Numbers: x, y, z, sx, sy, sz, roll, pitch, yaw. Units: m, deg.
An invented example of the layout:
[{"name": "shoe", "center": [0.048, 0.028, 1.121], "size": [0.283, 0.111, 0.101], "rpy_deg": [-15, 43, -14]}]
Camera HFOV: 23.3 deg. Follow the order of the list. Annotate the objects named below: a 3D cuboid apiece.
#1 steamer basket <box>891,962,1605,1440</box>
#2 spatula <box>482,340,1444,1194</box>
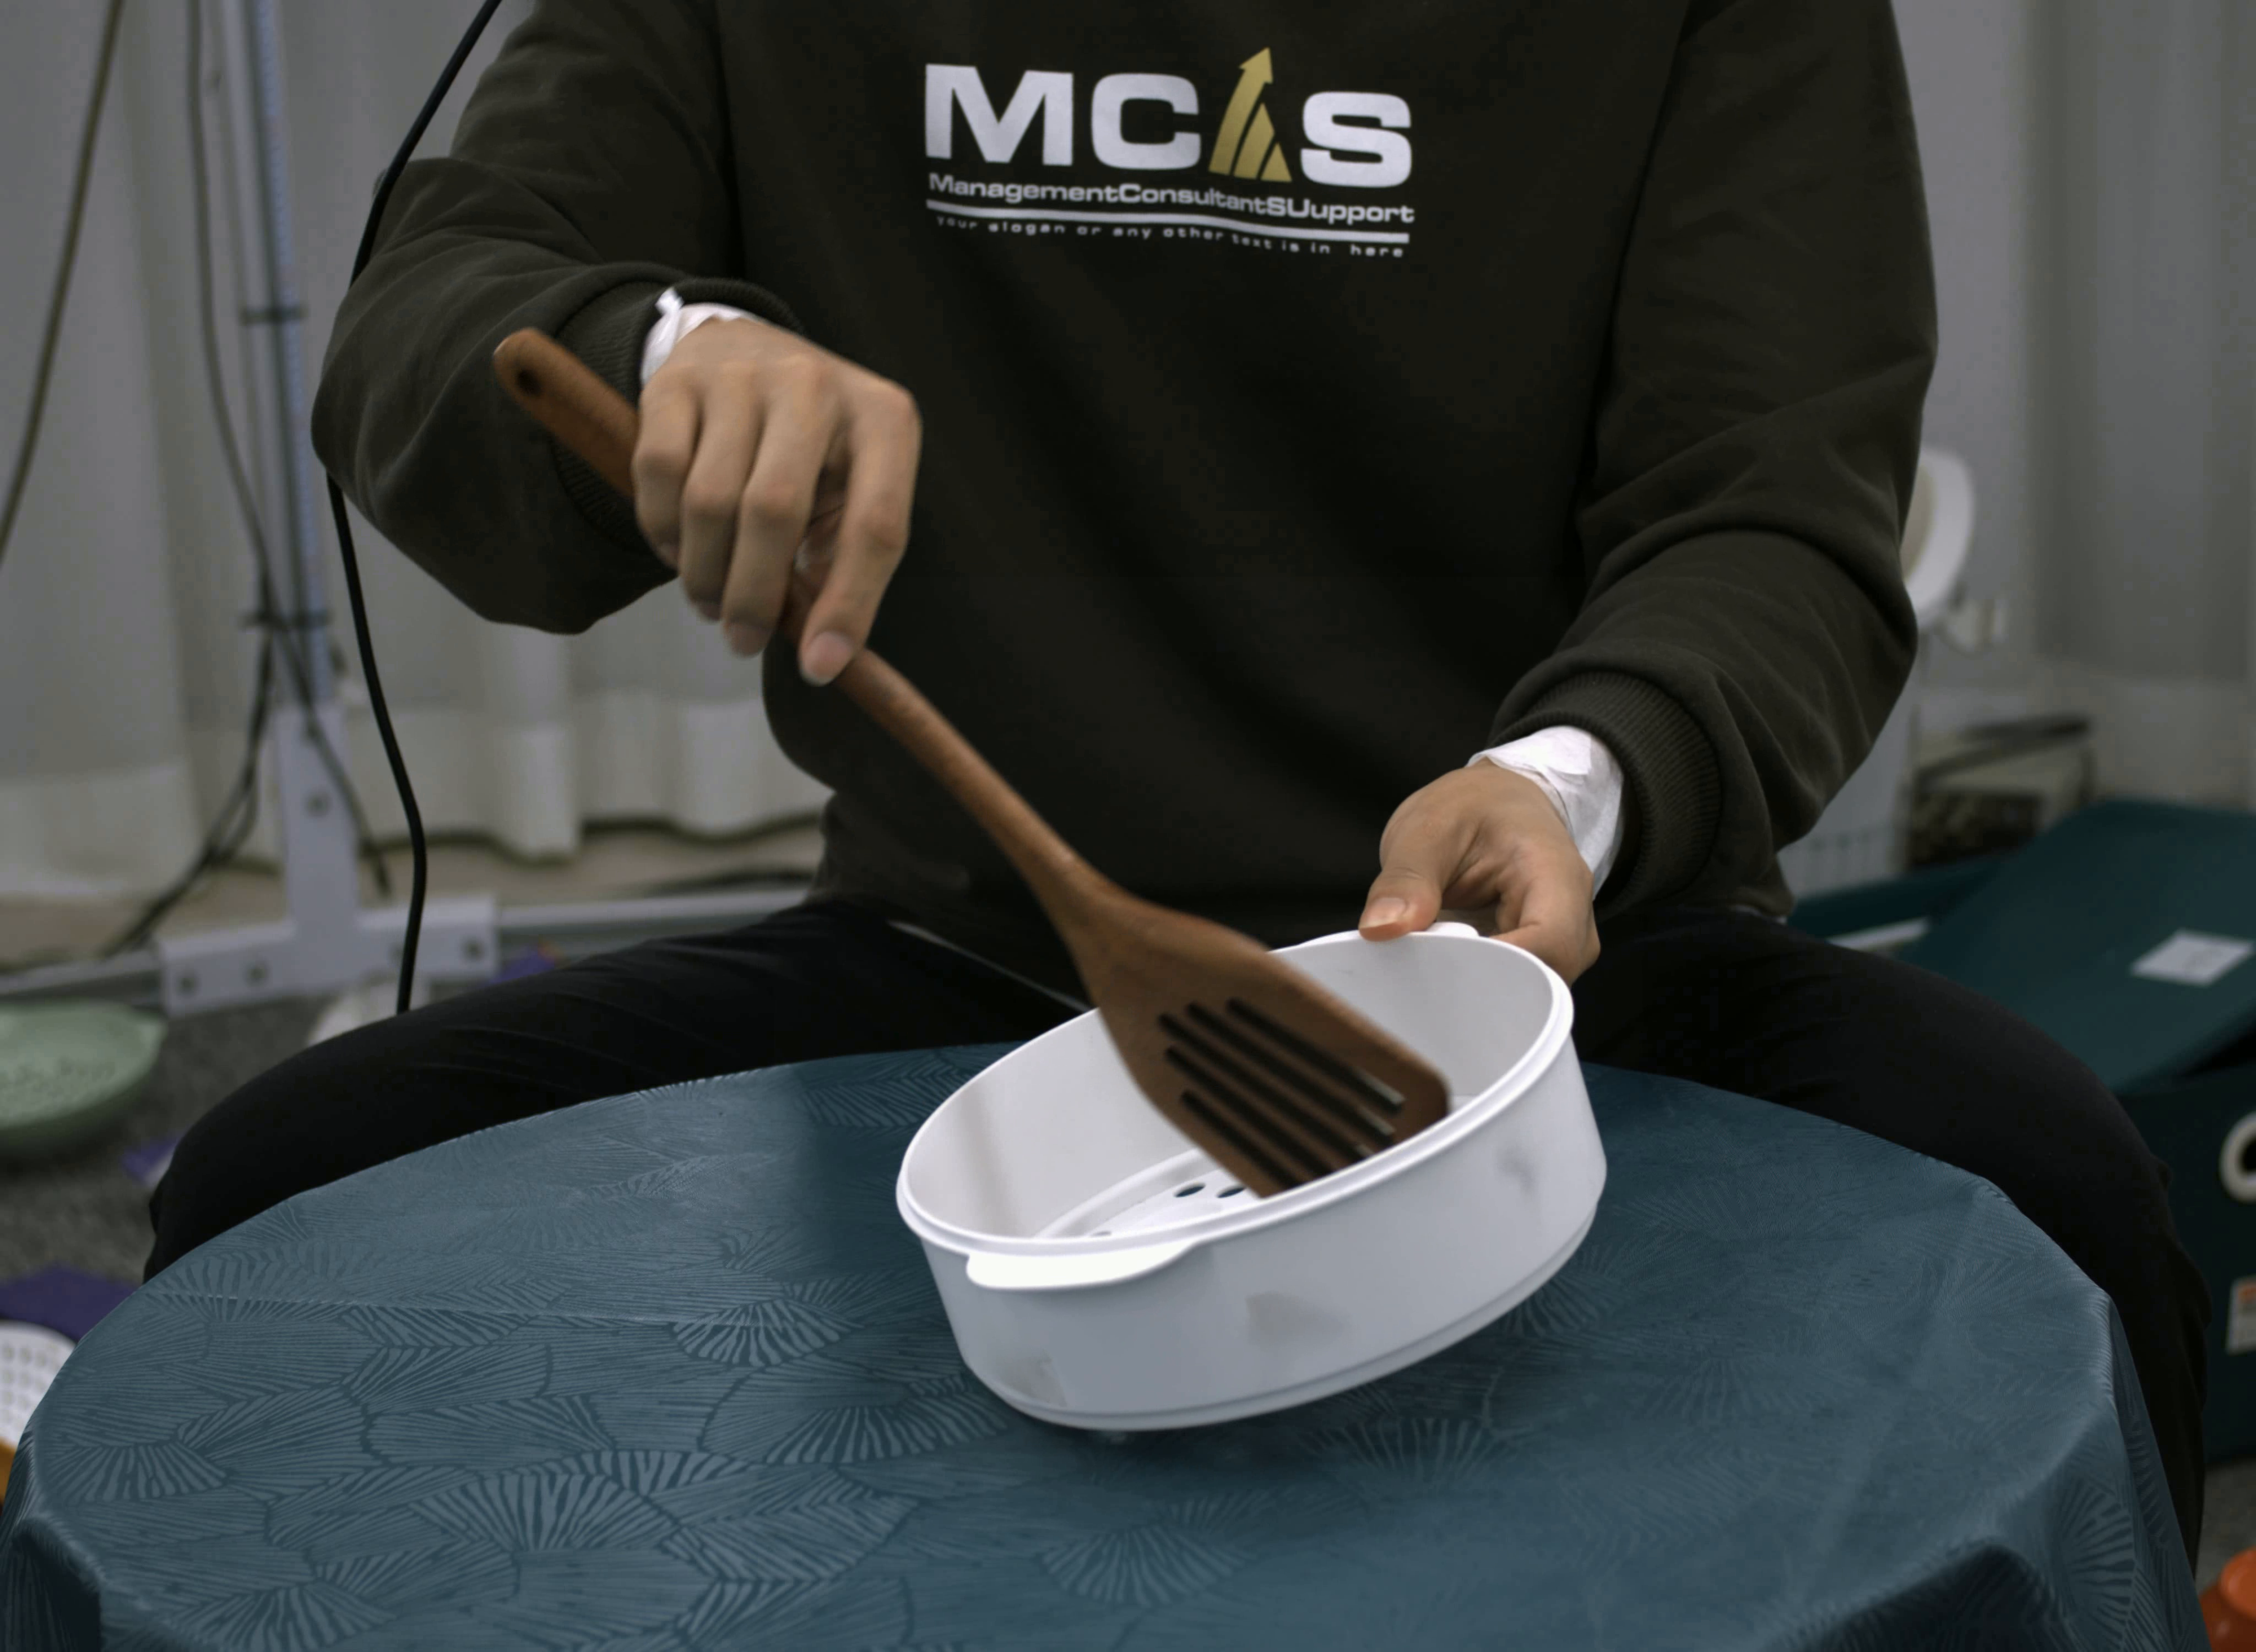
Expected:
[{"name": "steamer basket", "center": [0.036, 0.107, 1.556], "size": [0.202, 0.069, 0.231], "rpy_deg": [-4, 18, 32]}, {"name": "spatula", "center": [-0.058, -0.019, 1.580], "size": [0.024, 0.085, 0.388], "rpy_deg": [-30, 63, -38]}]
